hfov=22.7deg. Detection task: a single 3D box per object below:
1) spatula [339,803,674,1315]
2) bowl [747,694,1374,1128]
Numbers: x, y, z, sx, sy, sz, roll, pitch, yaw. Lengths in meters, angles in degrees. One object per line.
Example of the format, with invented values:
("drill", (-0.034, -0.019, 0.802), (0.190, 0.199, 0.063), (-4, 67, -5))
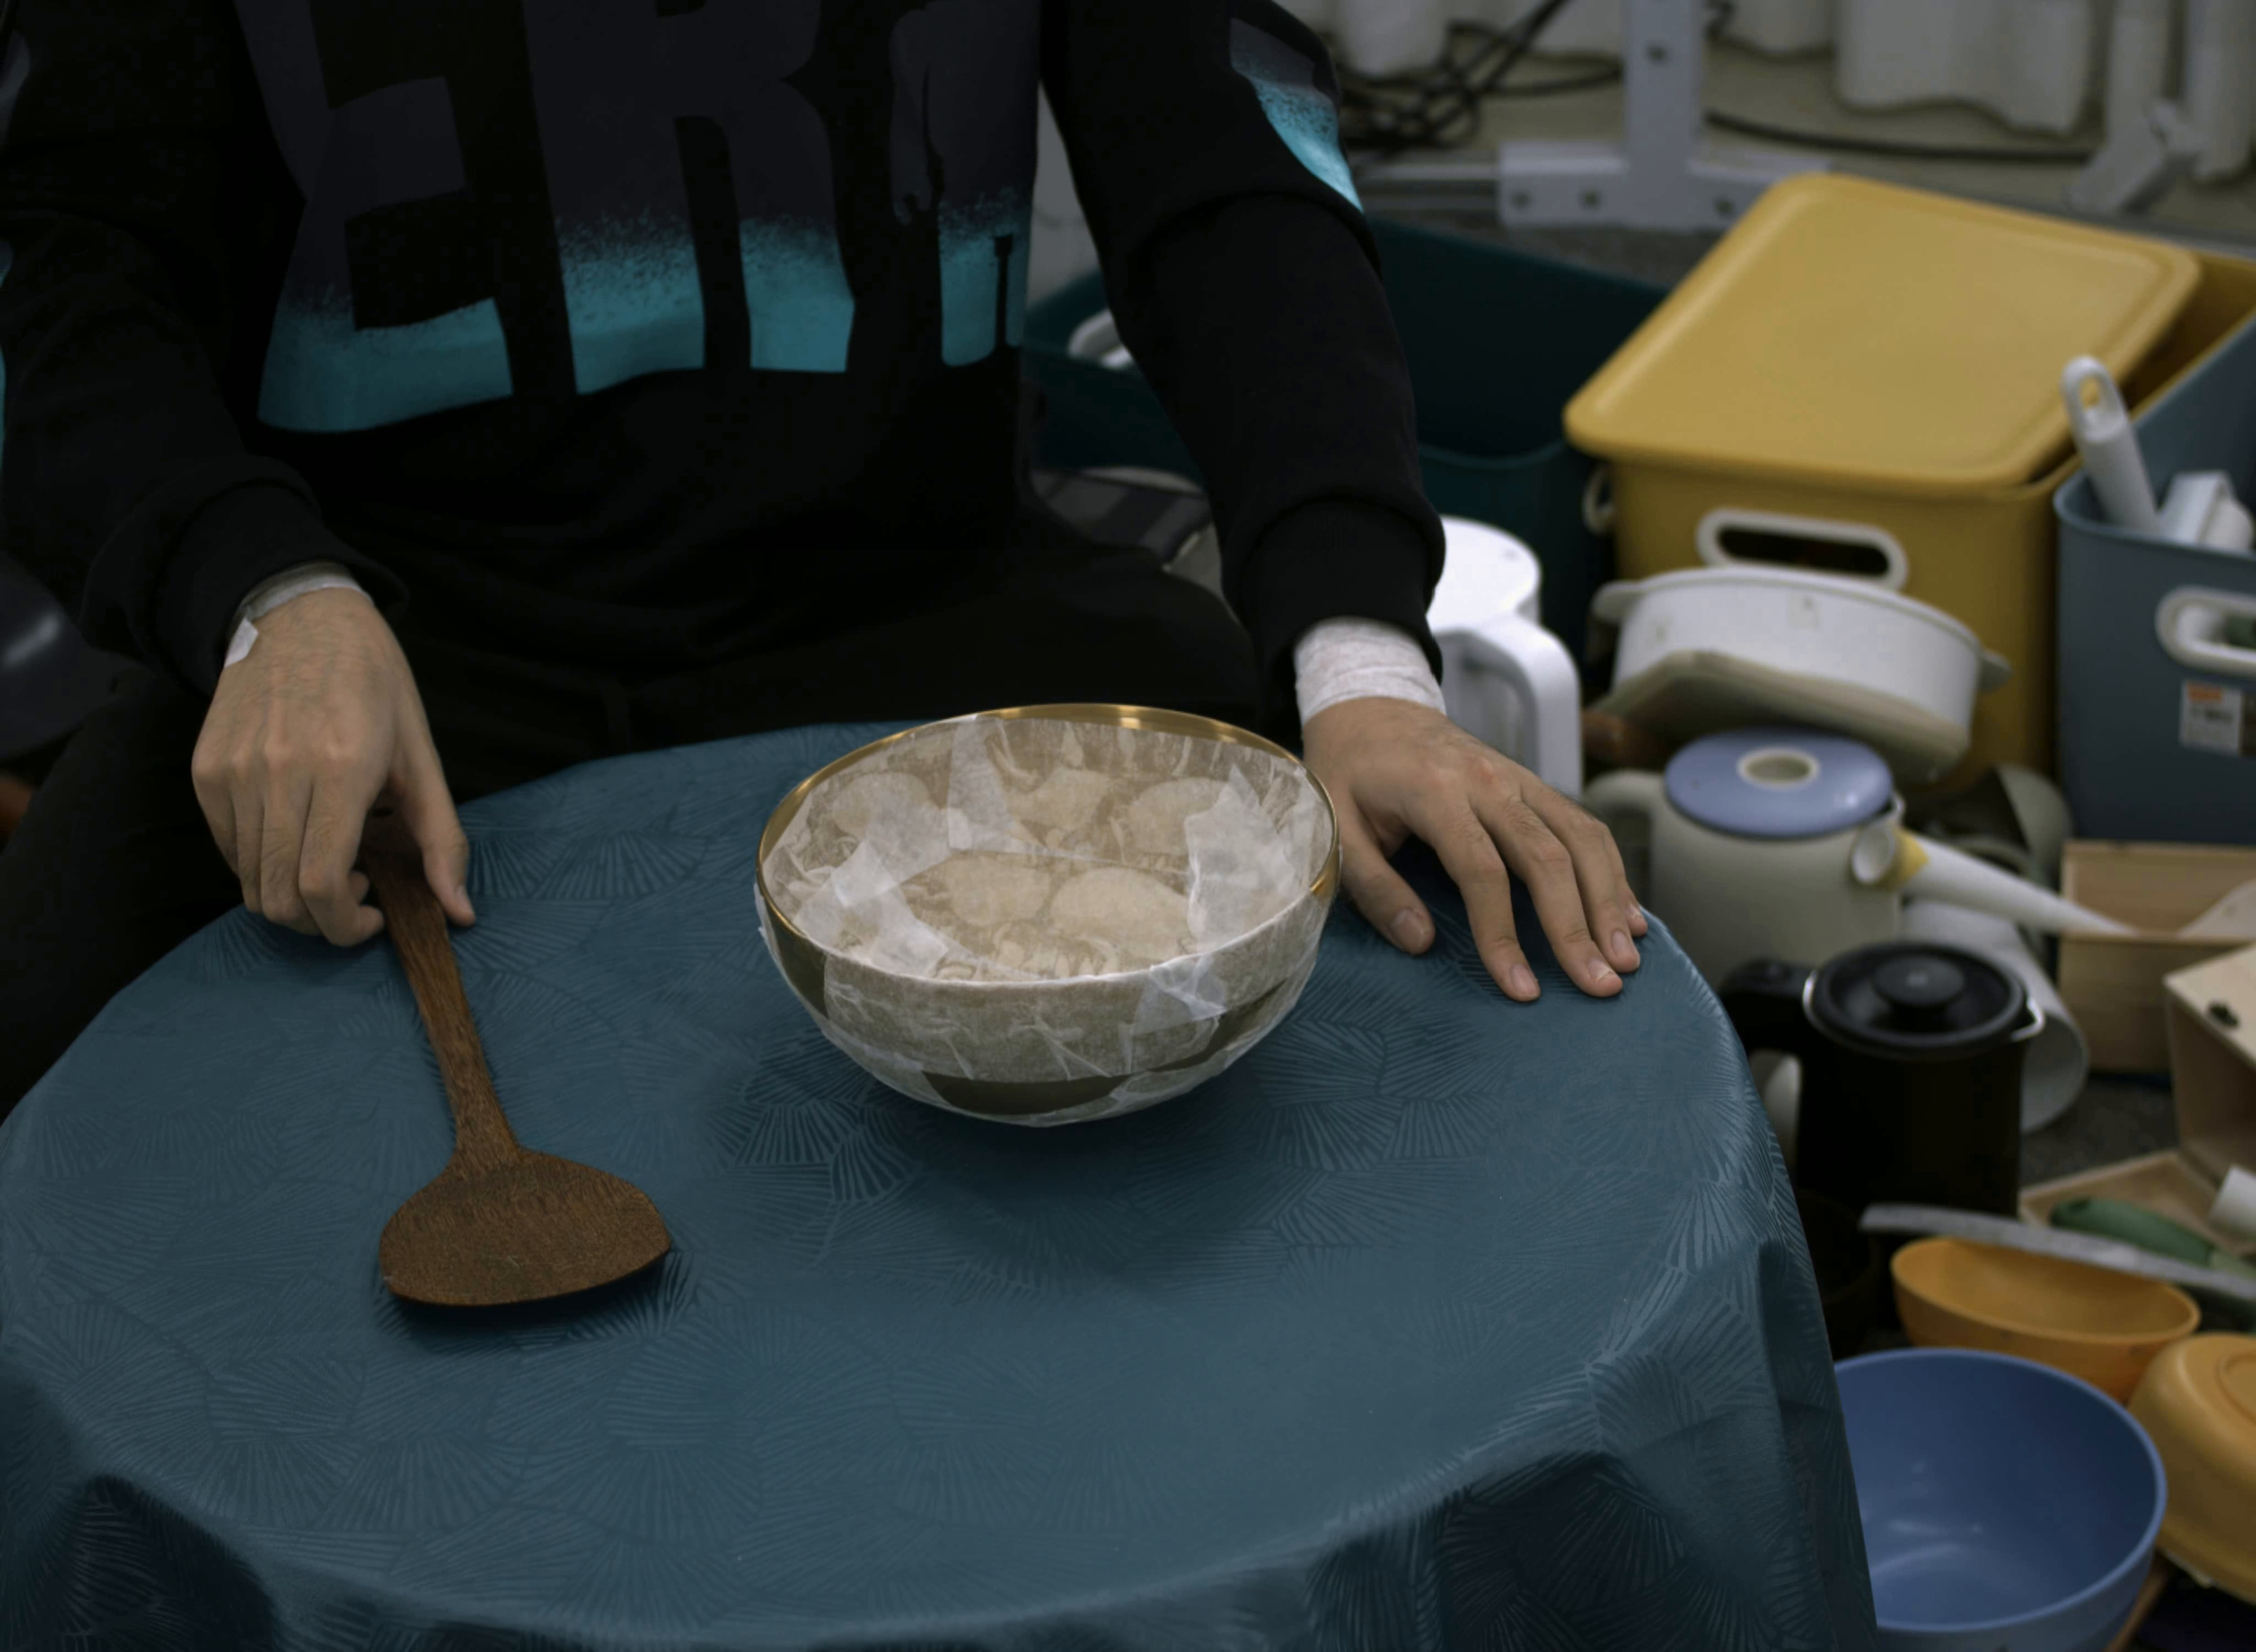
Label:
("spatula", (-0.237, 0.073, 1.965), (0.096, 0.015, 0.390), (-9, 27, -12))
("bowl", (-0.022, 0.041, 1.919), (0.213, 0.093, 0.218), (-4, 26, 2))
